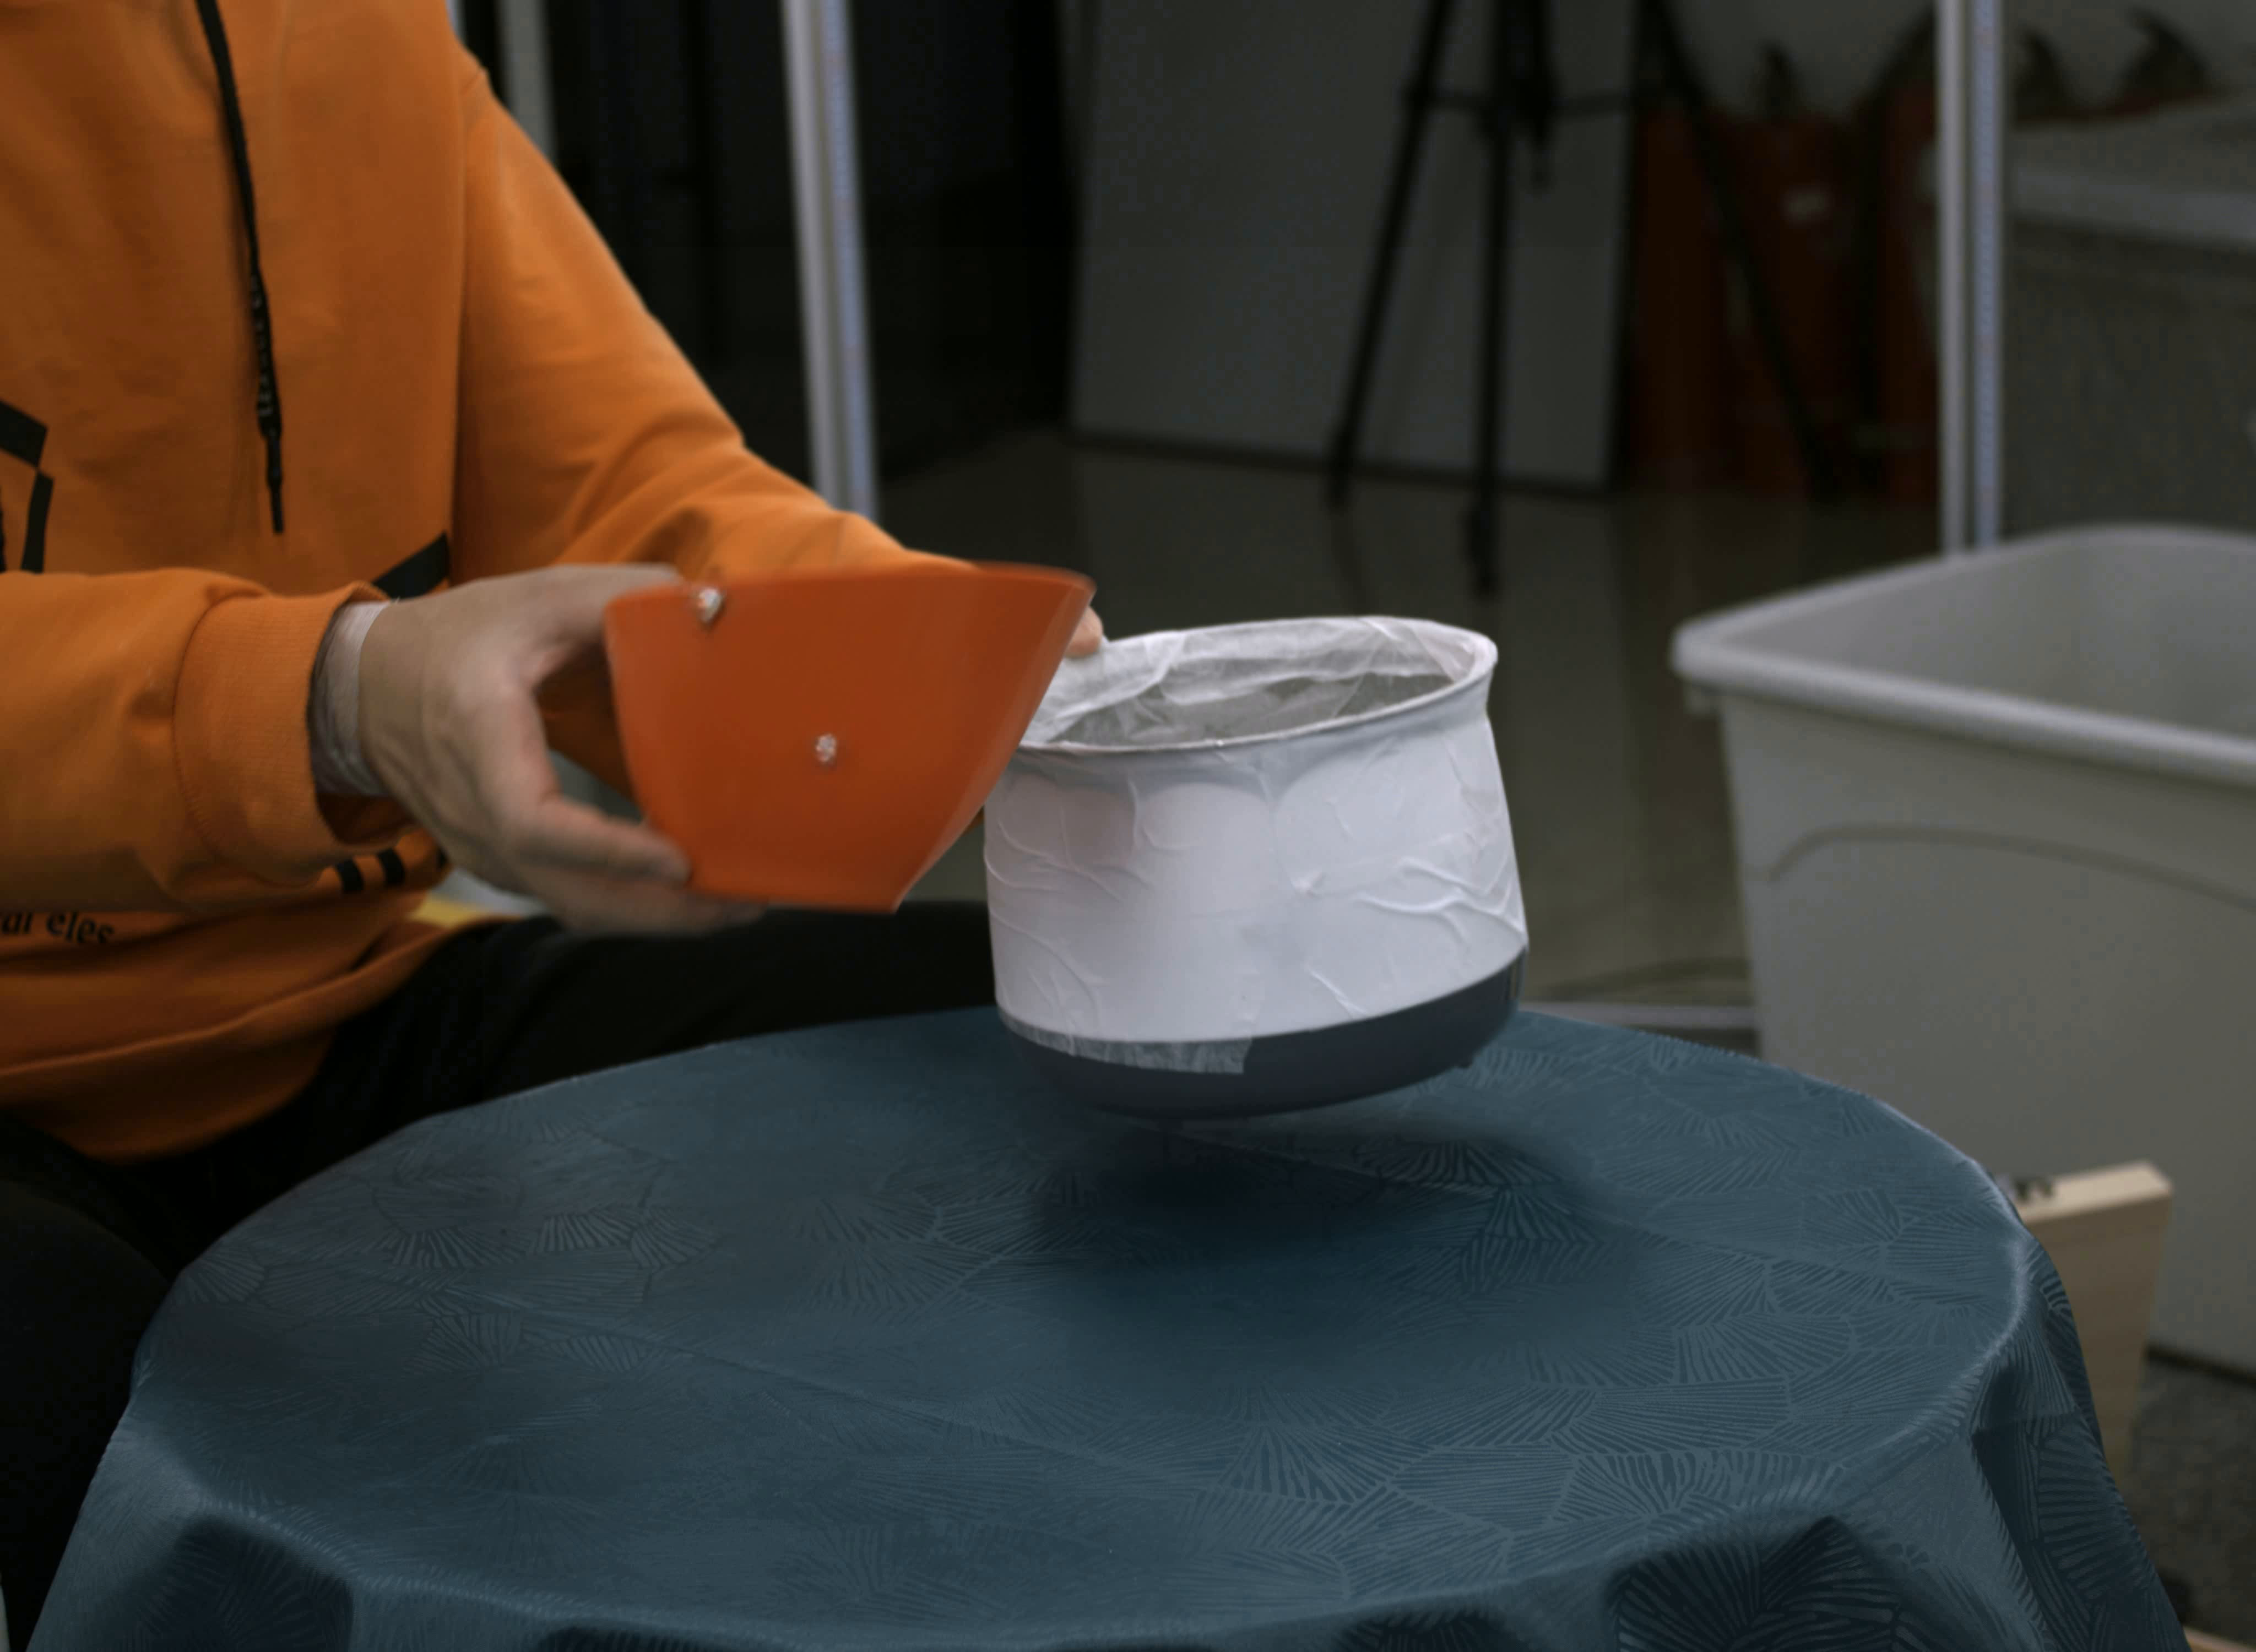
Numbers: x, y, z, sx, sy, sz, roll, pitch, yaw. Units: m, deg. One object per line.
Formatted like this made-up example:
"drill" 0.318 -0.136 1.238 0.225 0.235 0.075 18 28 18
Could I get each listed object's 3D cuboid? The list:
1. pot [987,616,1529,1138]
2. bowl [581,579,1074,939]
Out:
"pot" 0.027 0.011 1.781 0.175 0.138 0.236 -13 14 -27
"bowl" -0.092 -0.020 1.605 0.146 0.106 0.148 4 -1 -1
